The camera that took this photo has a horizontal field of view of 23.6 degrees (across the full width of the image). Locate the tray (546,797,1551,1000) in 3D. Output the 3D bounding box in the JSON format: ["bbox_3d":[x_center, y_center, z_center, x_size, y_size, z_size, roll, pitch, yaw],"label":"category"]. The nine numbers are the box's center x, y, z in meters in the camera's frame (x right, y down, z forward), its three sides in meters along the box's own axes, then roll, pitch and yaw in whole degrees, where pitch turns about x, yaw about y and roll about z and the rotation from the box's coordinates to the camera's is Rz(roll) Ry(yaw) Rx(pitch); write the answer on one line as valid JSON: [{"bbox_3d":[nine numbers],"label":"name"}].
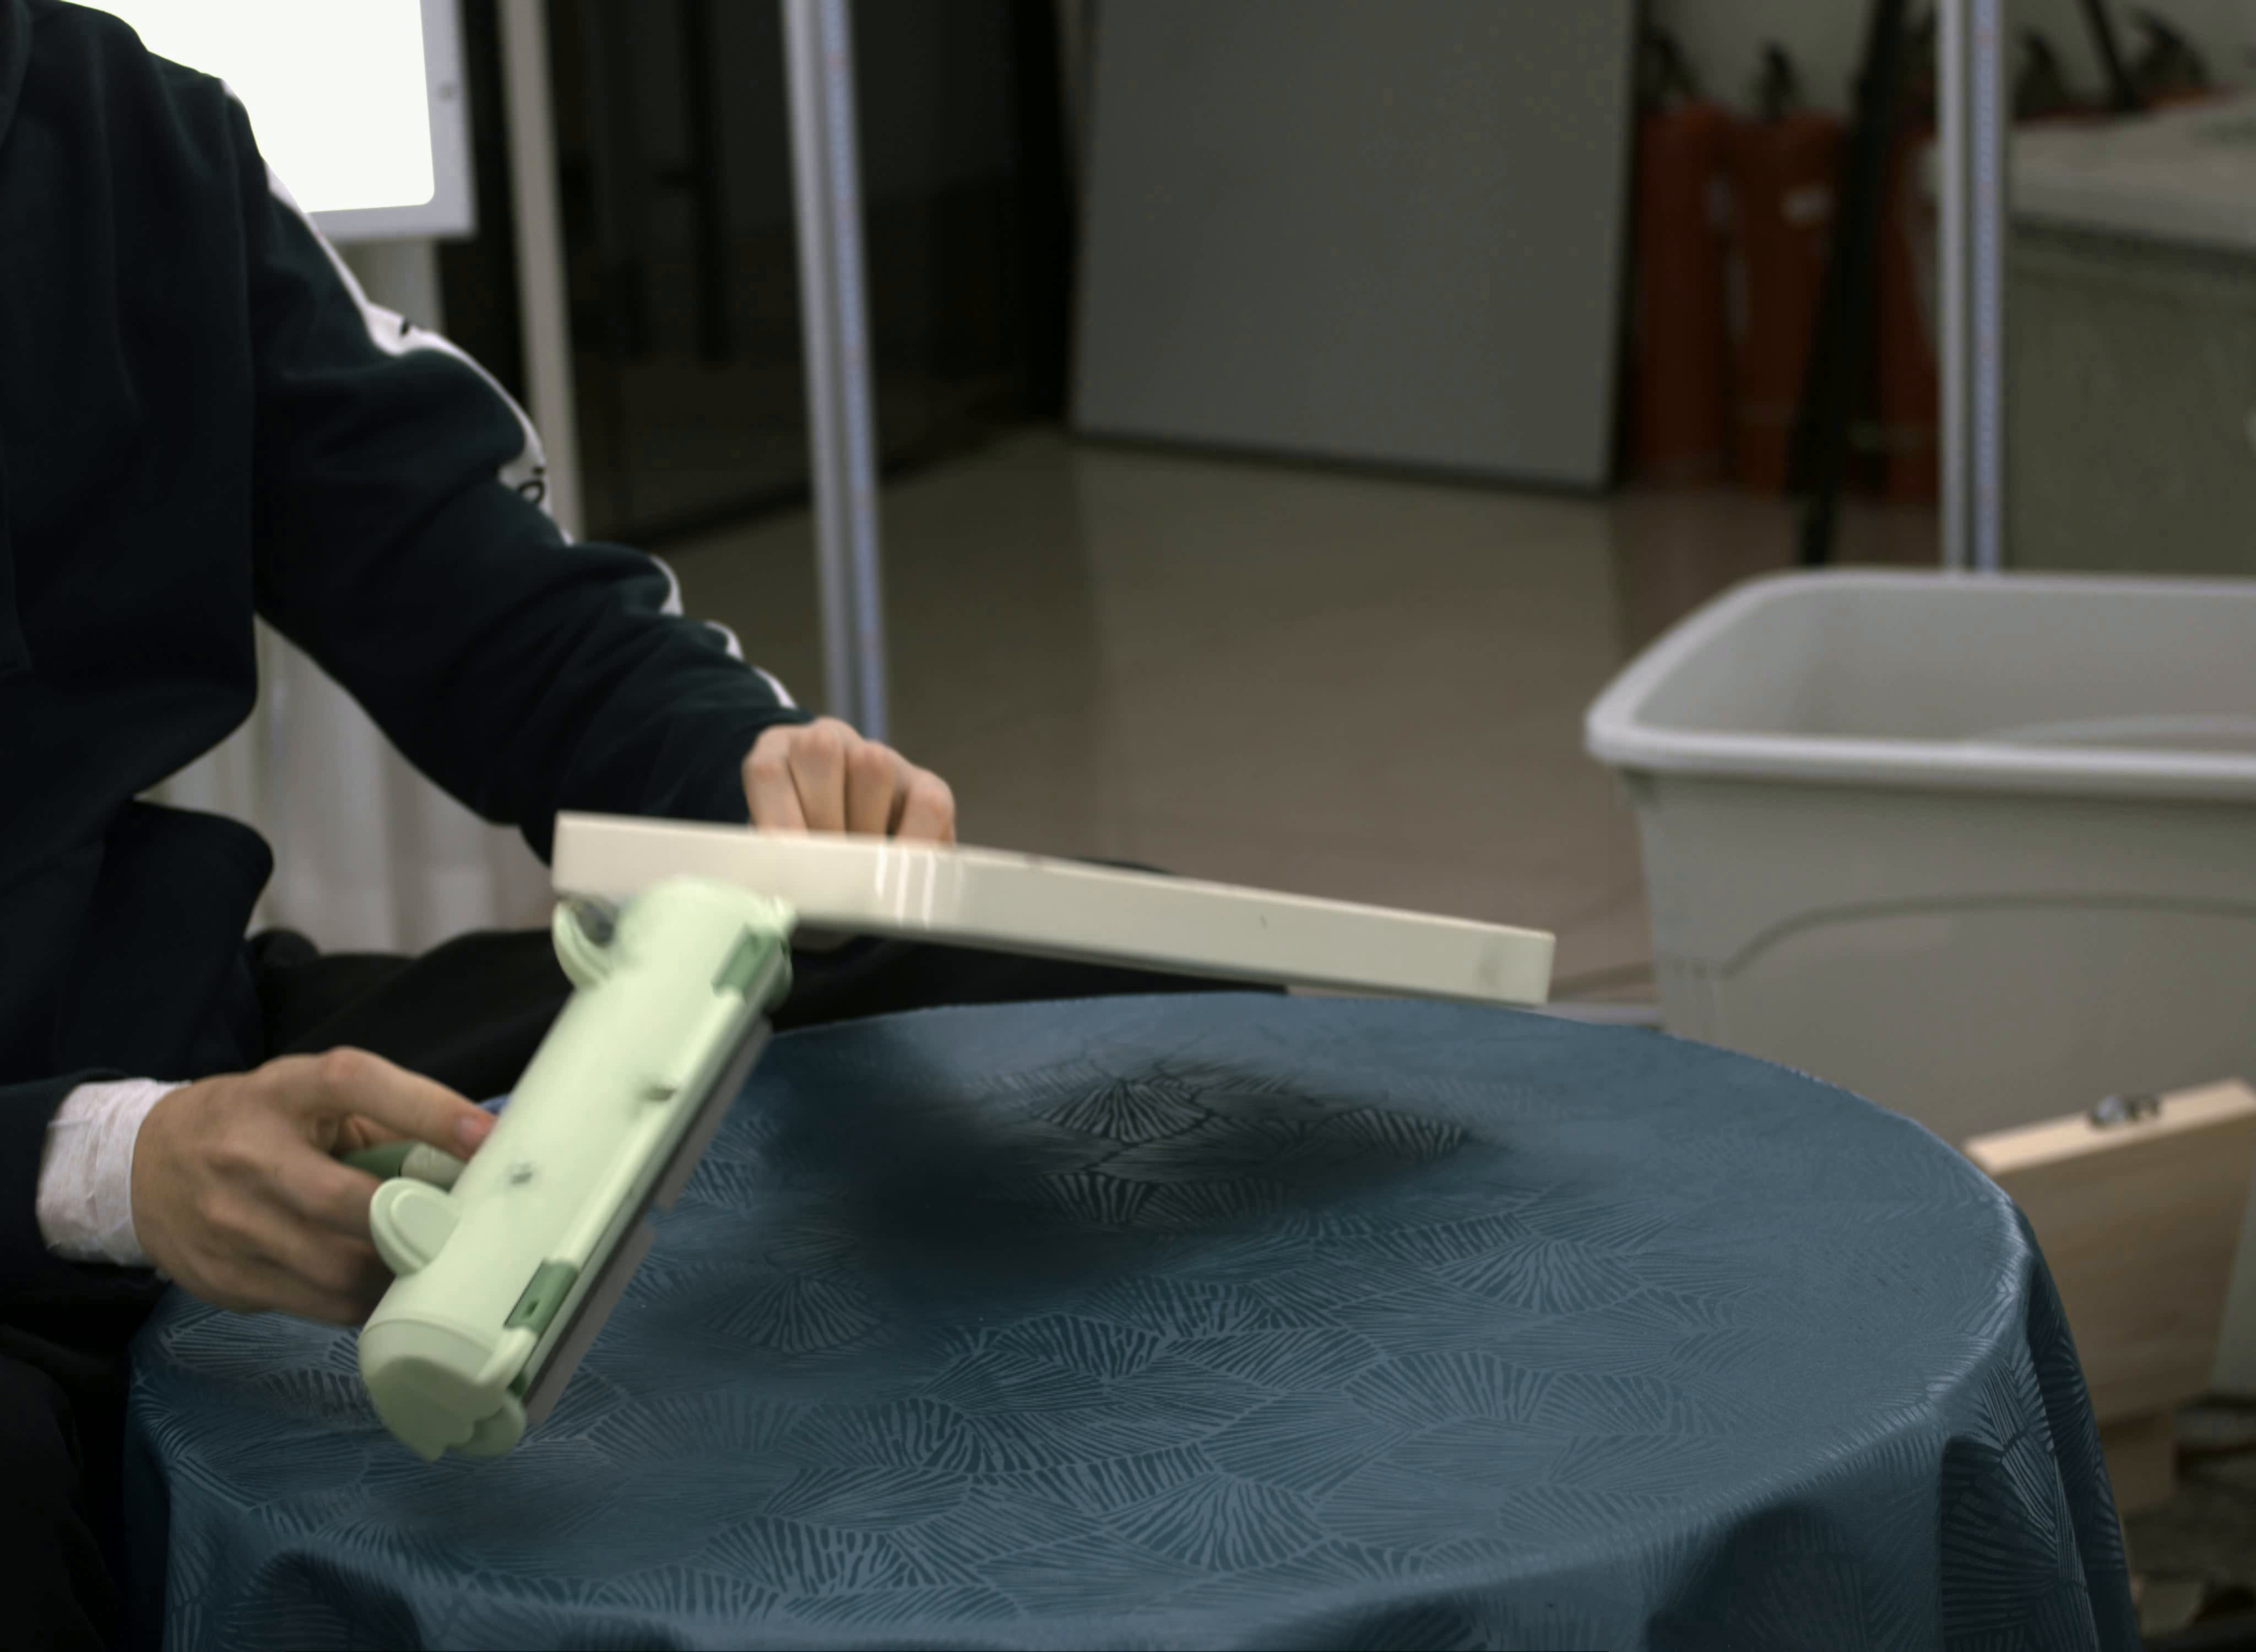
[{"bbox_3d":[-0.023,0.025,1.754,0.293,0.028,0.193,11,-6,-43],"label":"tray"}]

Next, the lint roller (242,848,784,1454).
[{"bbox_3d":[-0.205,0.091,1.578,0.184,0.082,0.198,-7,41,35],"label":"lint roller"}]
